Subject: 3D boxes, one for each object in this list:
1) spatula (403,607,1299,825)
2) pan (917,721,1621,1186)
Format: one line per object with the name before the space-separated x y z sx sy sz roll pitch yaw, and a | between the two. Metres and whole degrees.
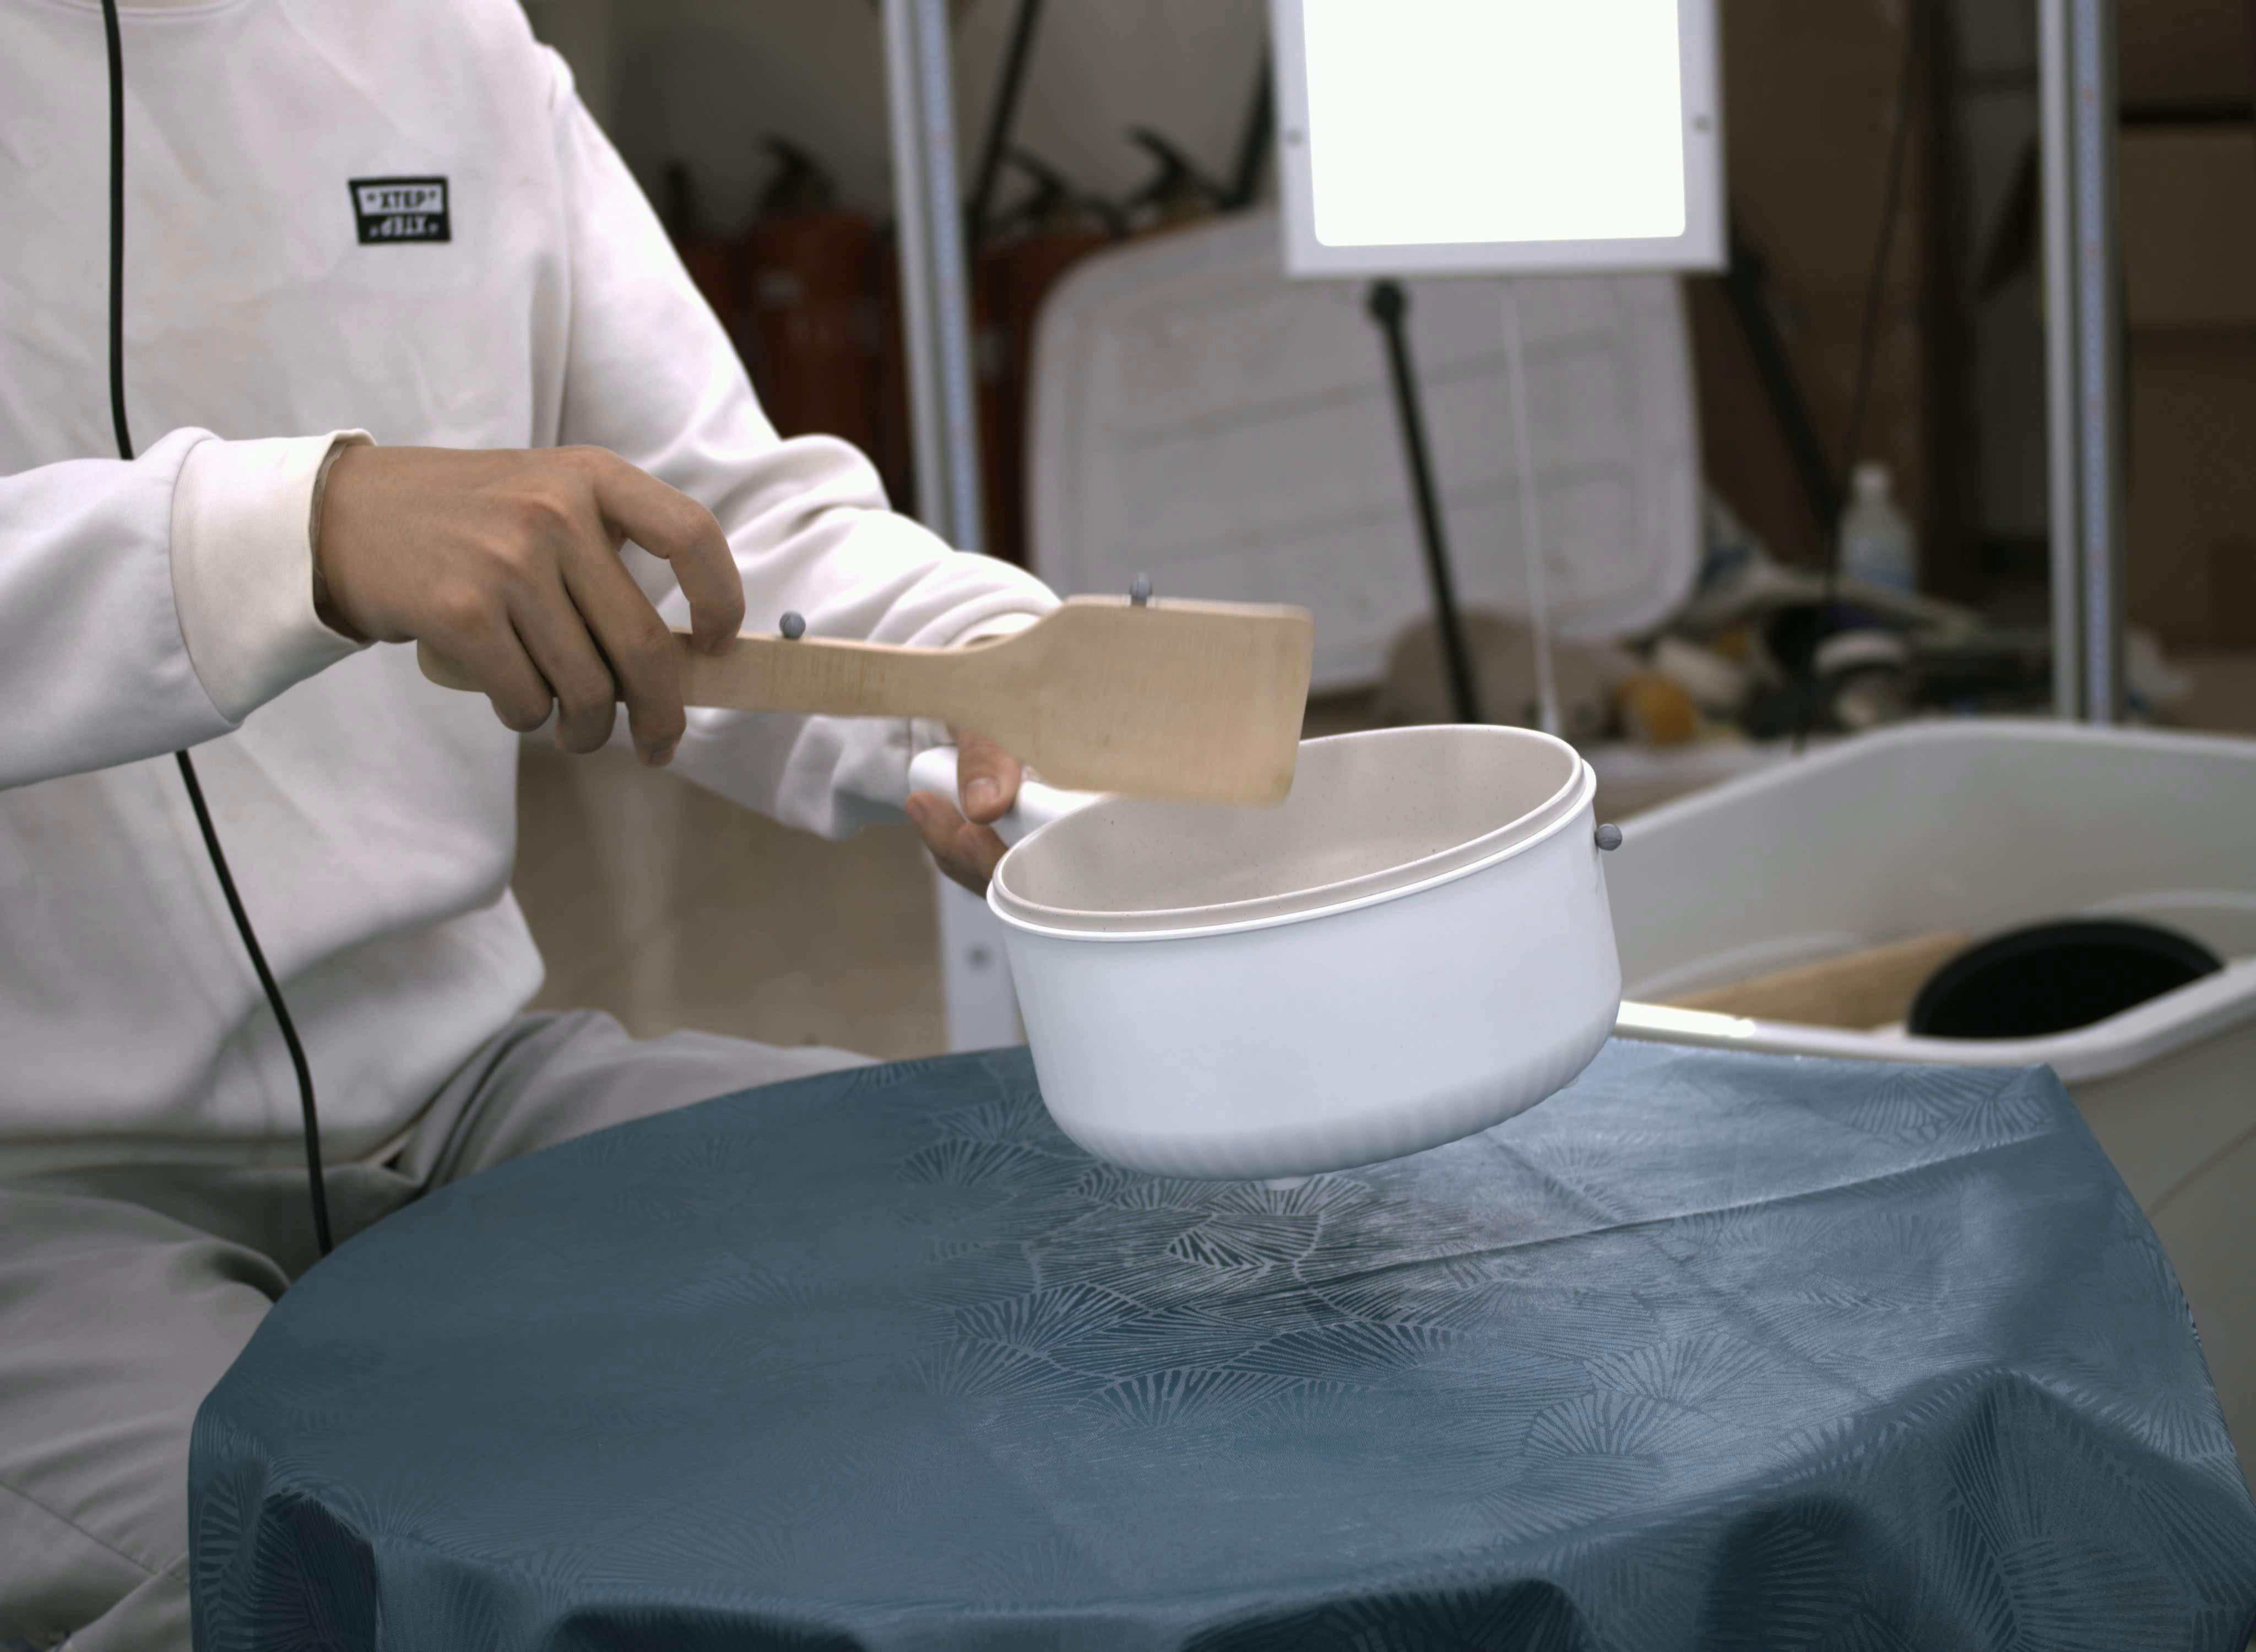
spatula | -0.089 -0.046 1.793 0.290 0.073 0.010 6 24 -7
pan | 0.026 0.034 1.860 0.197 0.102 0.361 -19 15 -24
